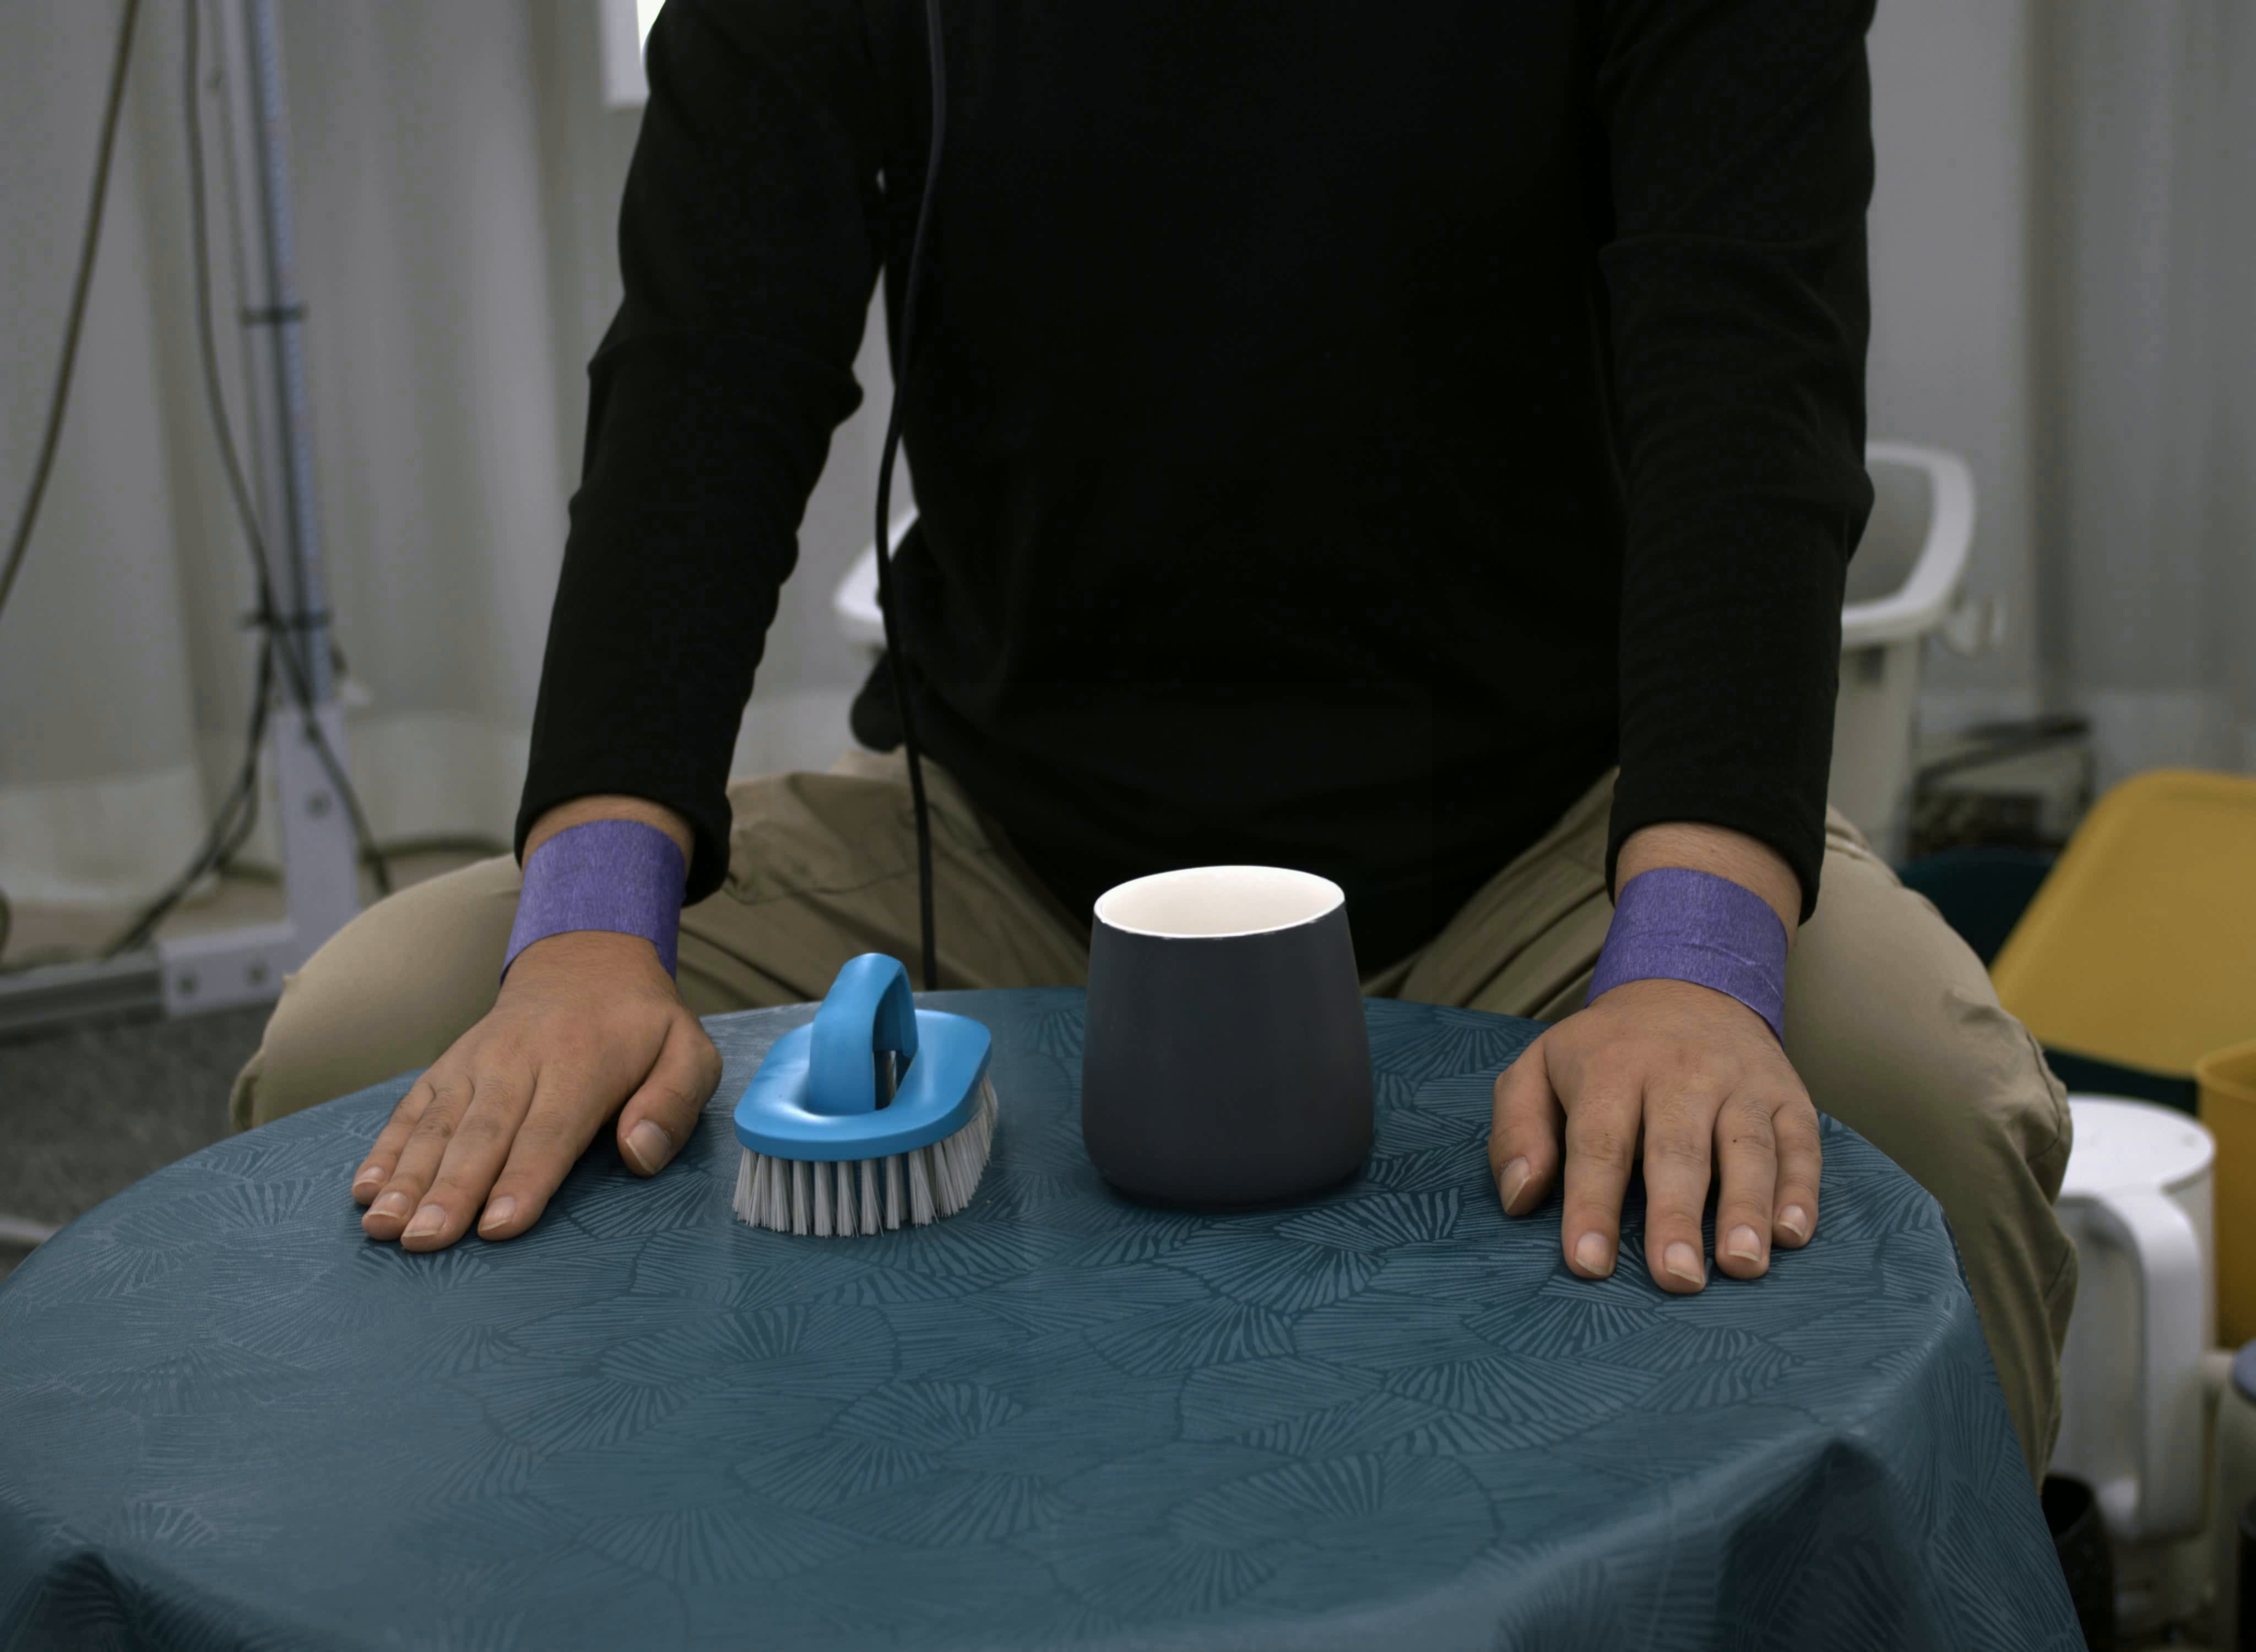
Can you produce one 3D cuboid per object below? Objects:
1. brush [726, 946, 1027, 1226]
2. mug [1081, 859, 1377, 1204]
[{"bbox_3d":[-0.081,0.077,1.746,0.084,0.063,0.142,-5,13,10],"label":"brush"},{"bbox_3d":[0.034,0.060,1.731,0.093,0.089,0.124,1,16,14],"label":"mug"}]
